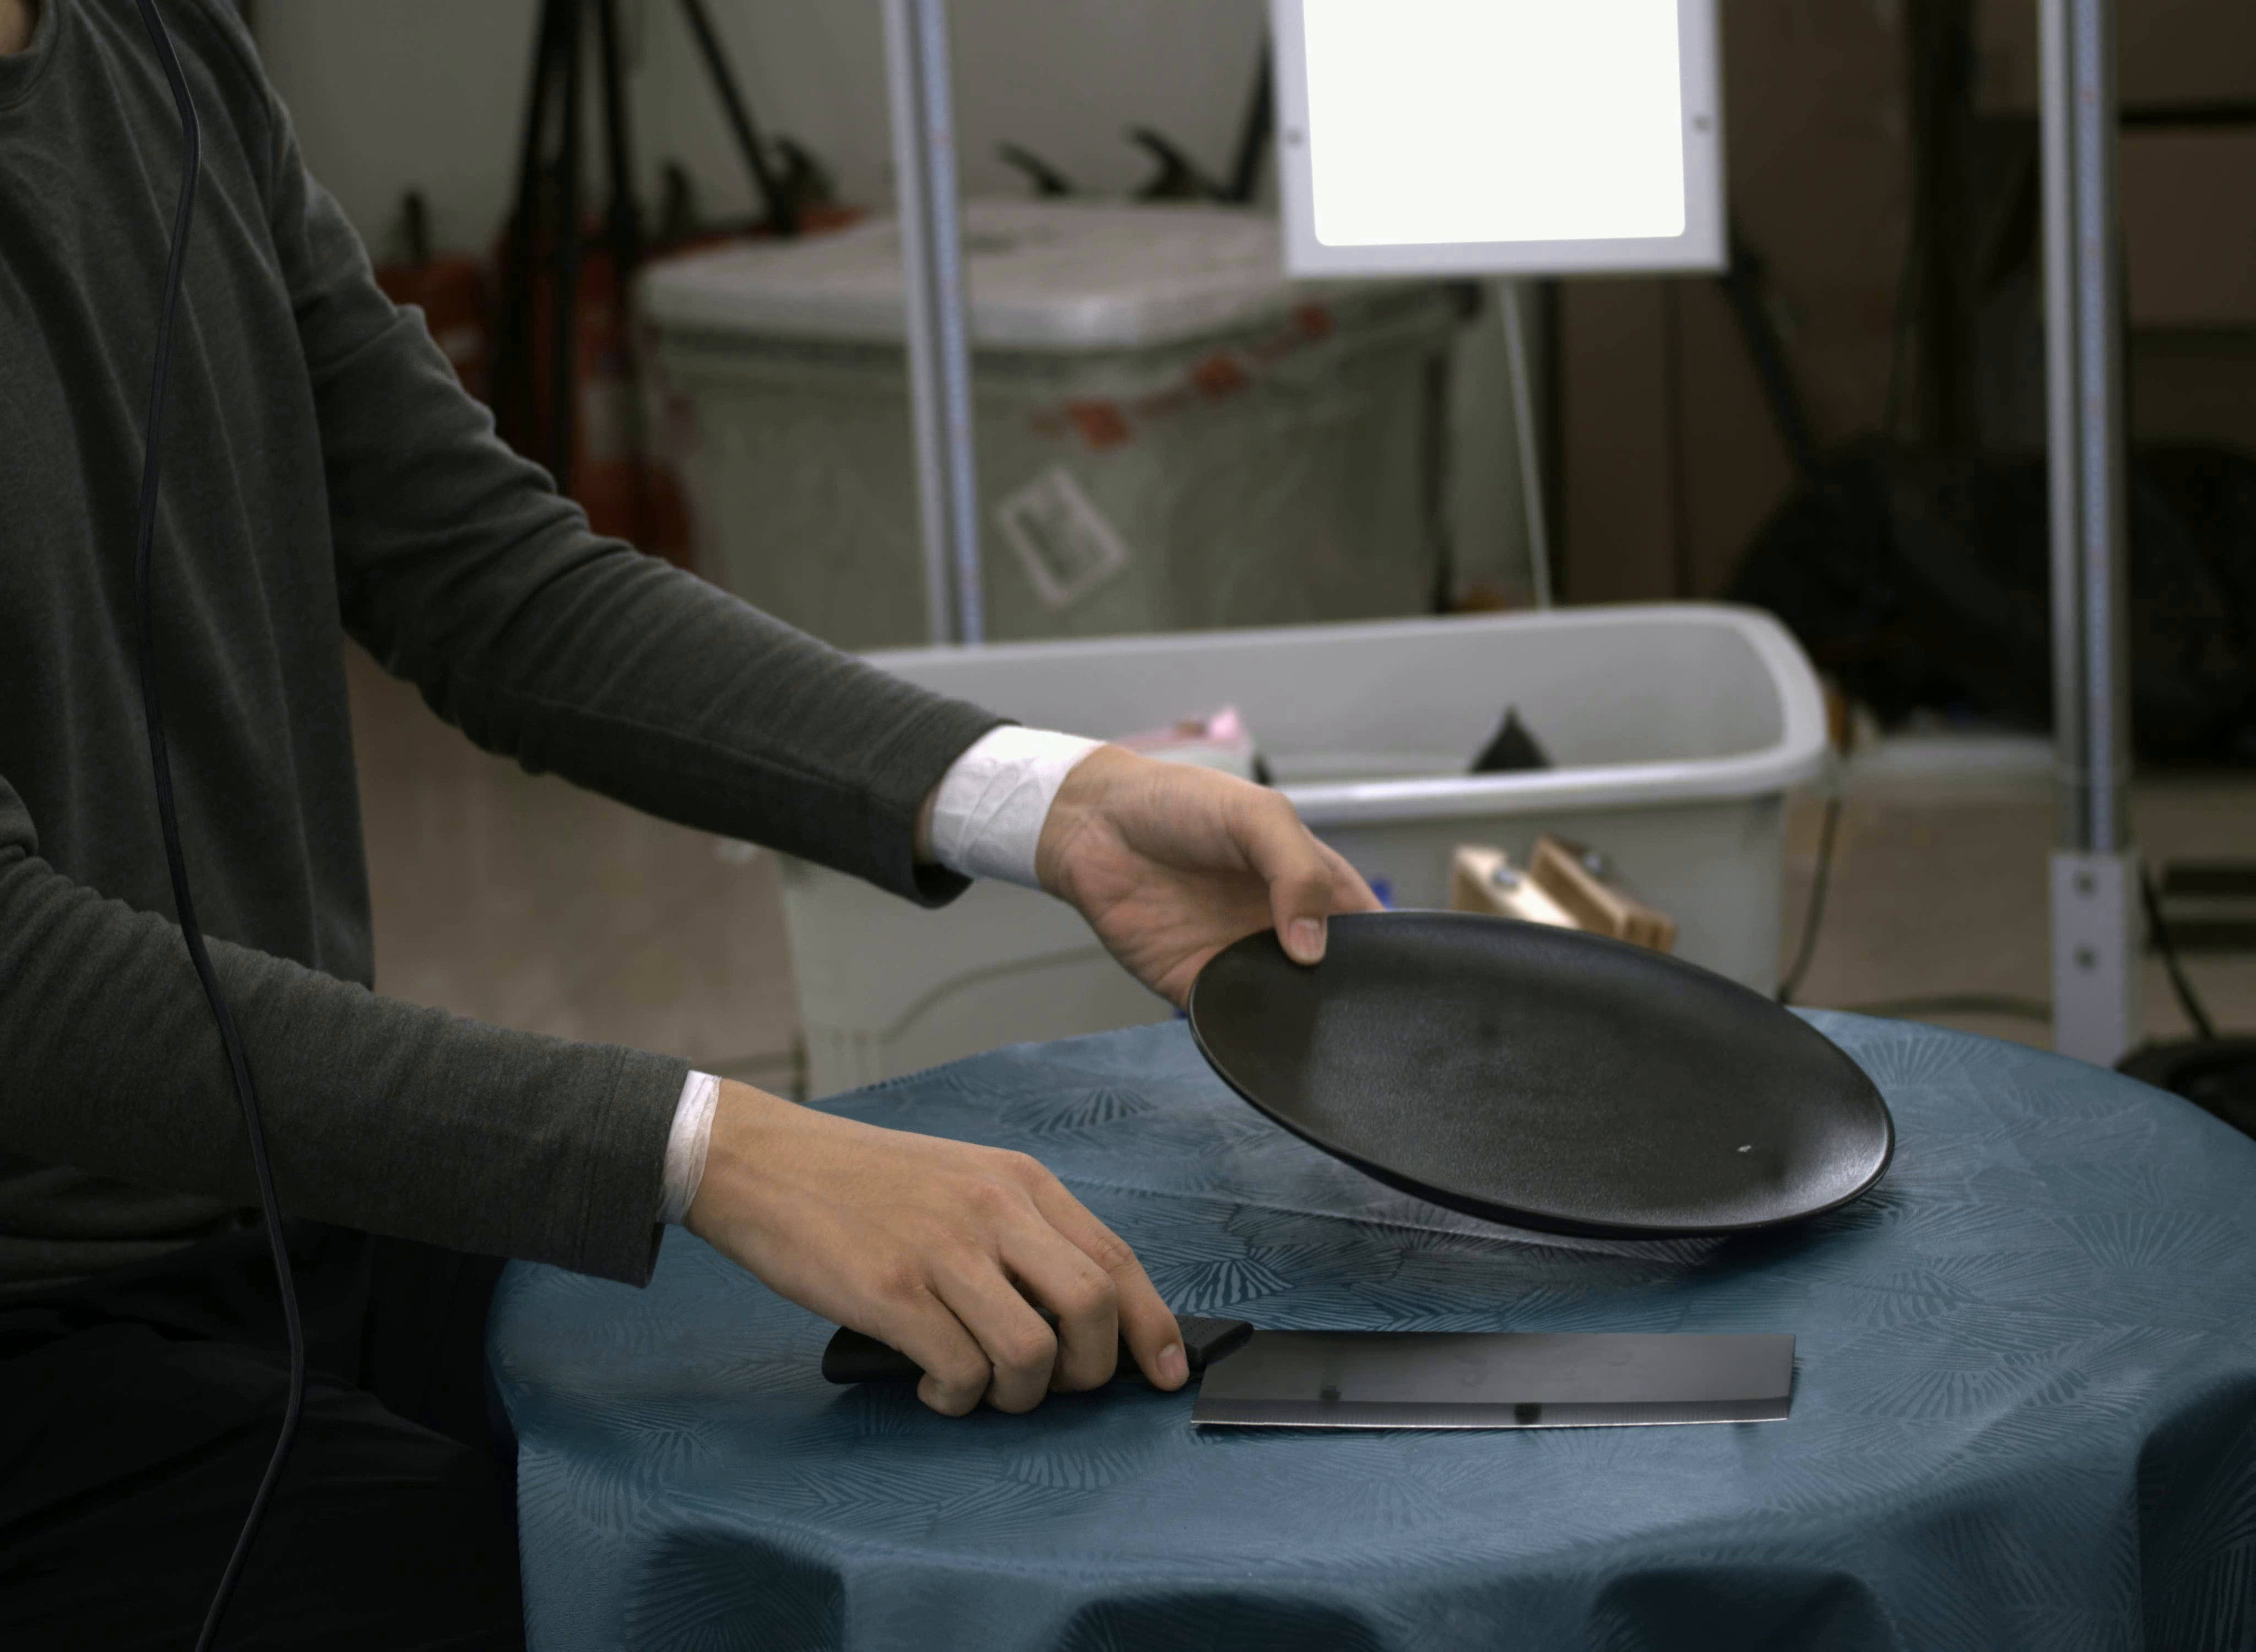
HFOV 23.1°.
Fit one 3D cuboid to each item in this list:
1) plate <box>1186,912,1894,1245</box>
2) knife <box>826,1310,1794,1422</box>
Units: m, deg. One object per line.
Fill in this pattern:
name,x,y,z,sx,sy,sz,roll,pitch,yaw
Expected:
plate,0.138,0.089,1.856,0.243,0.023,0.244,7,22,-4
knife,0.055,0.167,1.688,0.305,0.021,0.080,0,18,16
